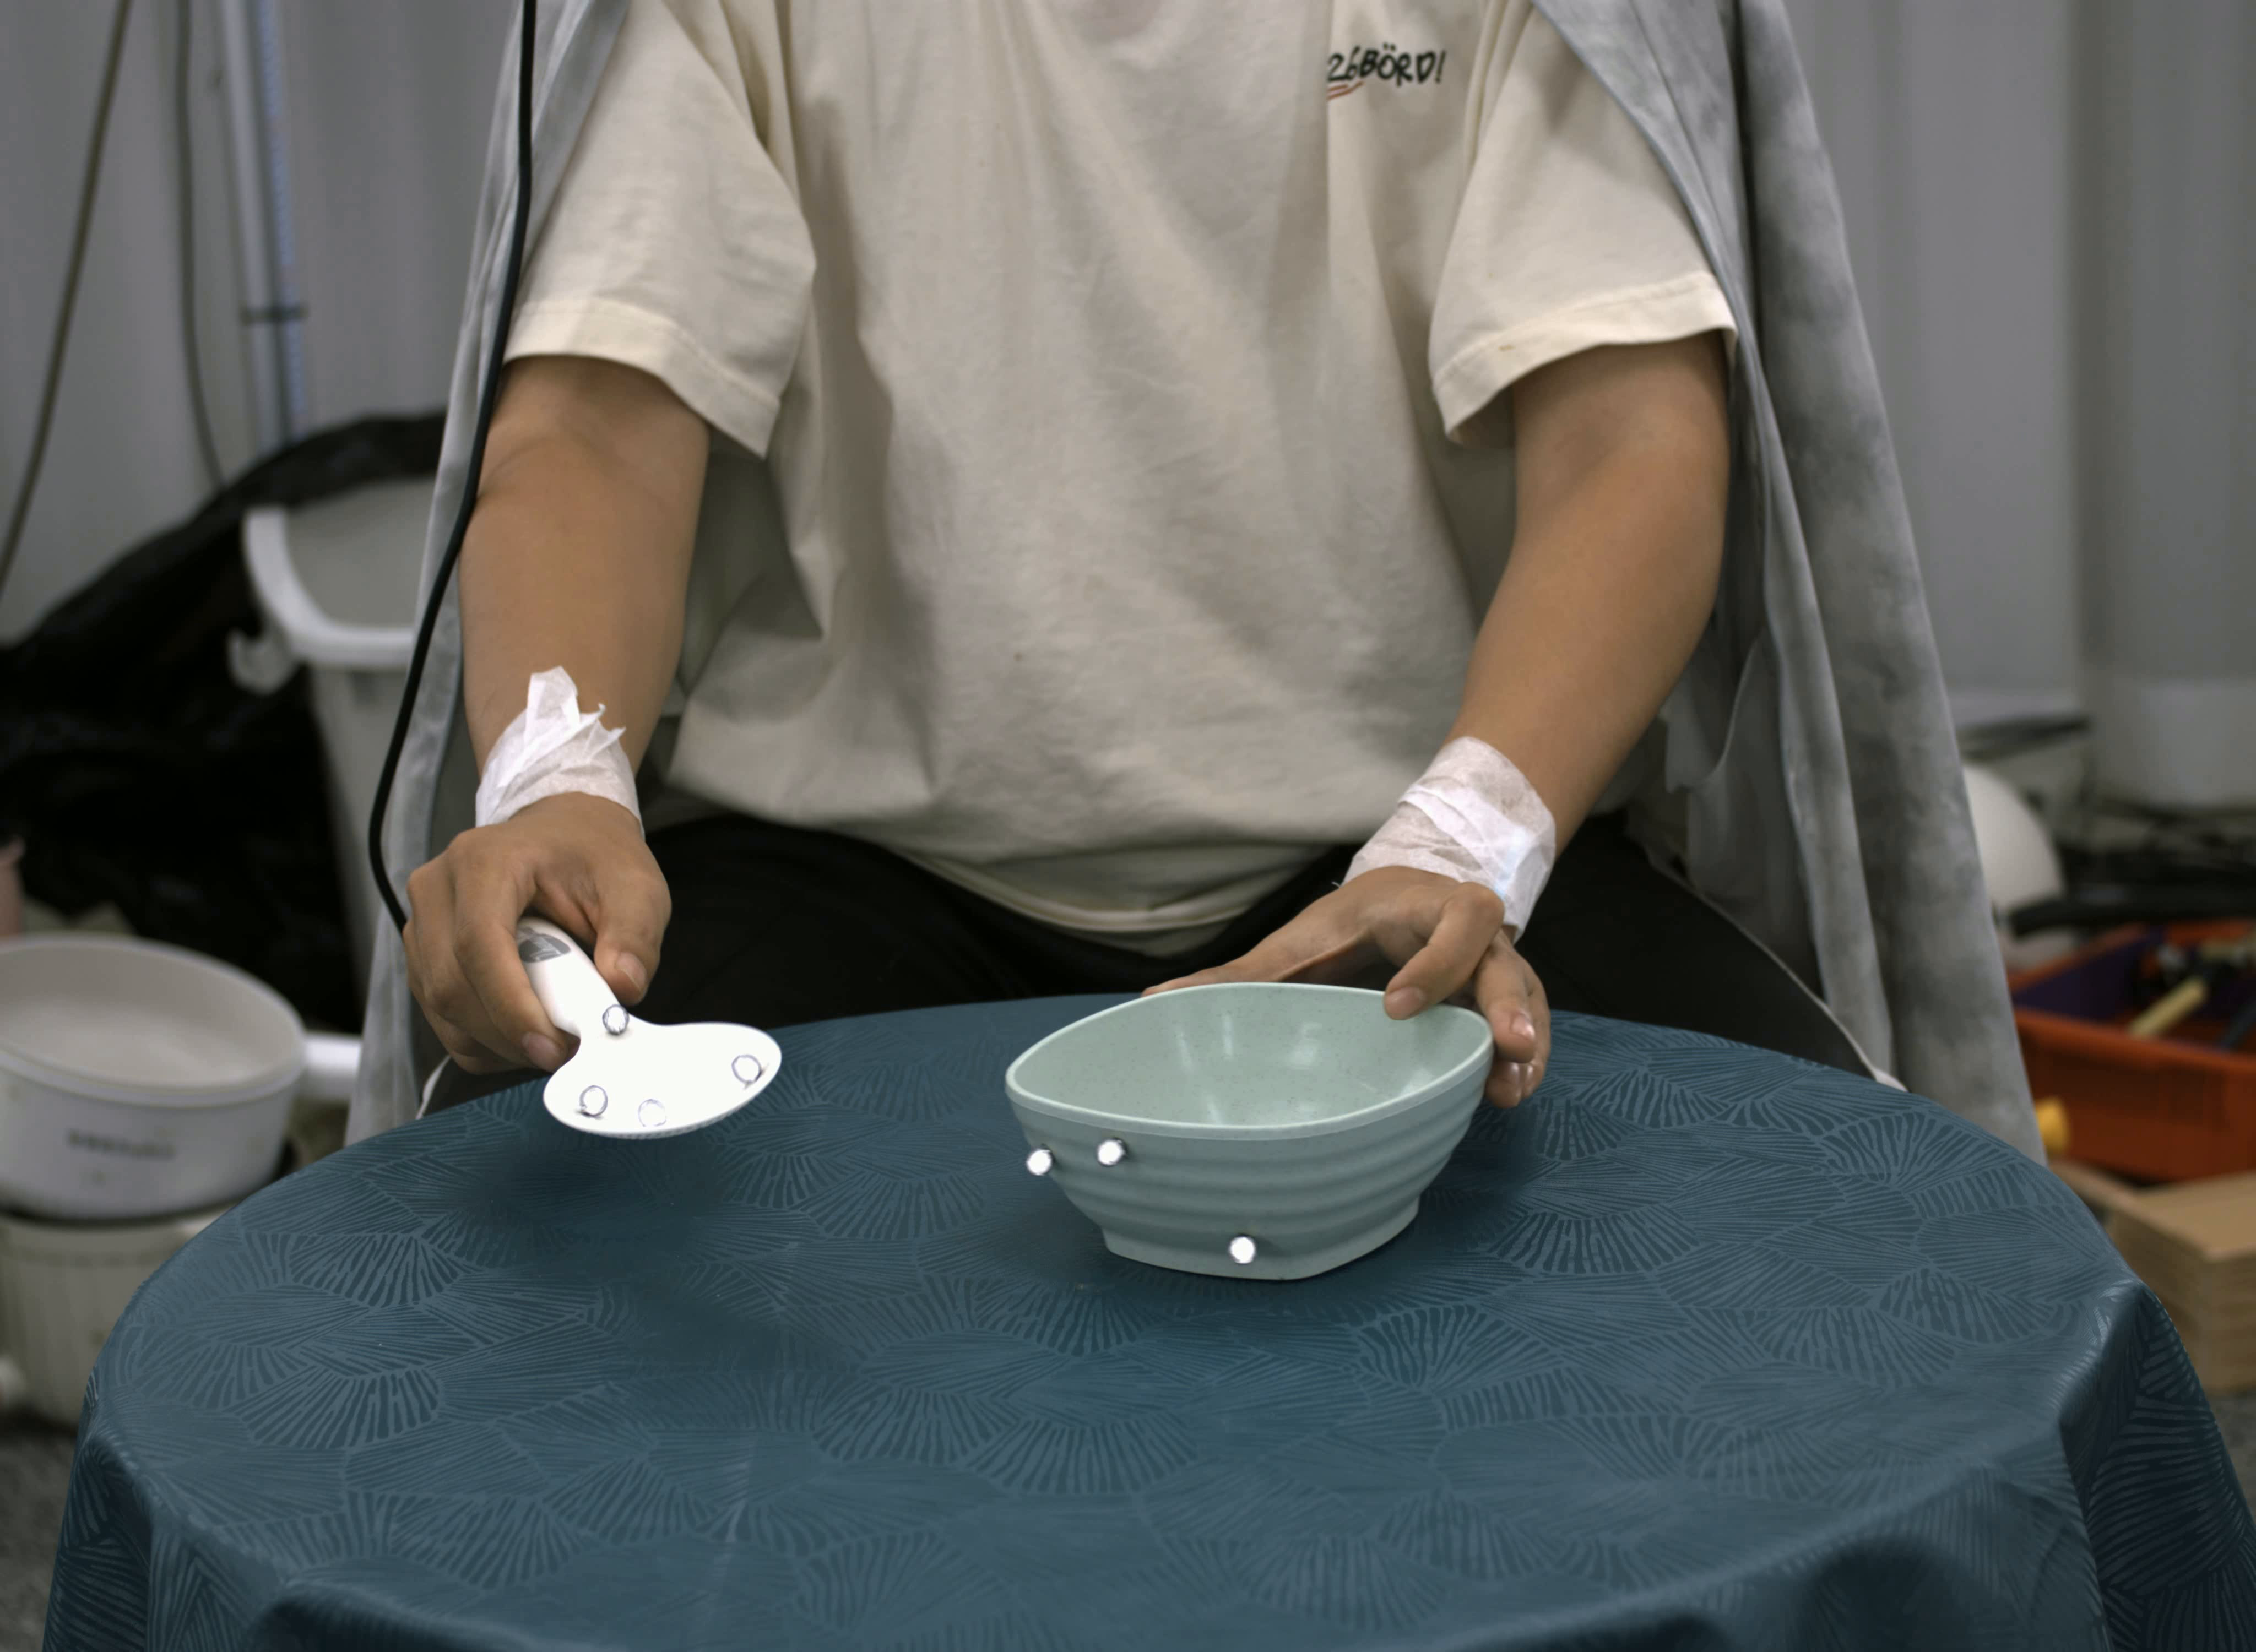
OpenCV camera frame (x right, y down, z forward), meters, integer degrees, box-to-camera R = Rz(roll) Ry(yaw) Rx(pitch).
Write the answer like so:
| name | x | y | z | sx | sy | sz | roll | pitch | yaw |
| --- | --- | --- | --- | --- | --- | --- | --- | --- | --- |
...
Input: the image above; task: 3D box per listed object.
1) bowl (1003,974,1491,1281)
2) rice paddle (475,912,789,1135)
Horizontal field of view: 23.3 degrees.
| name | x | y | z | sx | sy | sz | roll | pitch | yaw |
| --- | --- | --- | --- | --- | --- | --- | --- | --- | --- |
| bowl | 0.039 | 0.096 | 1.667 | 0.151 | 0.058 | 0.152 | -6 | 16 | 2 |
| rice paddle | -0.155 | 0.060 | 1.652 | 0.068 | 0.029 | 0.206 | -22 | 18 | -17 |
